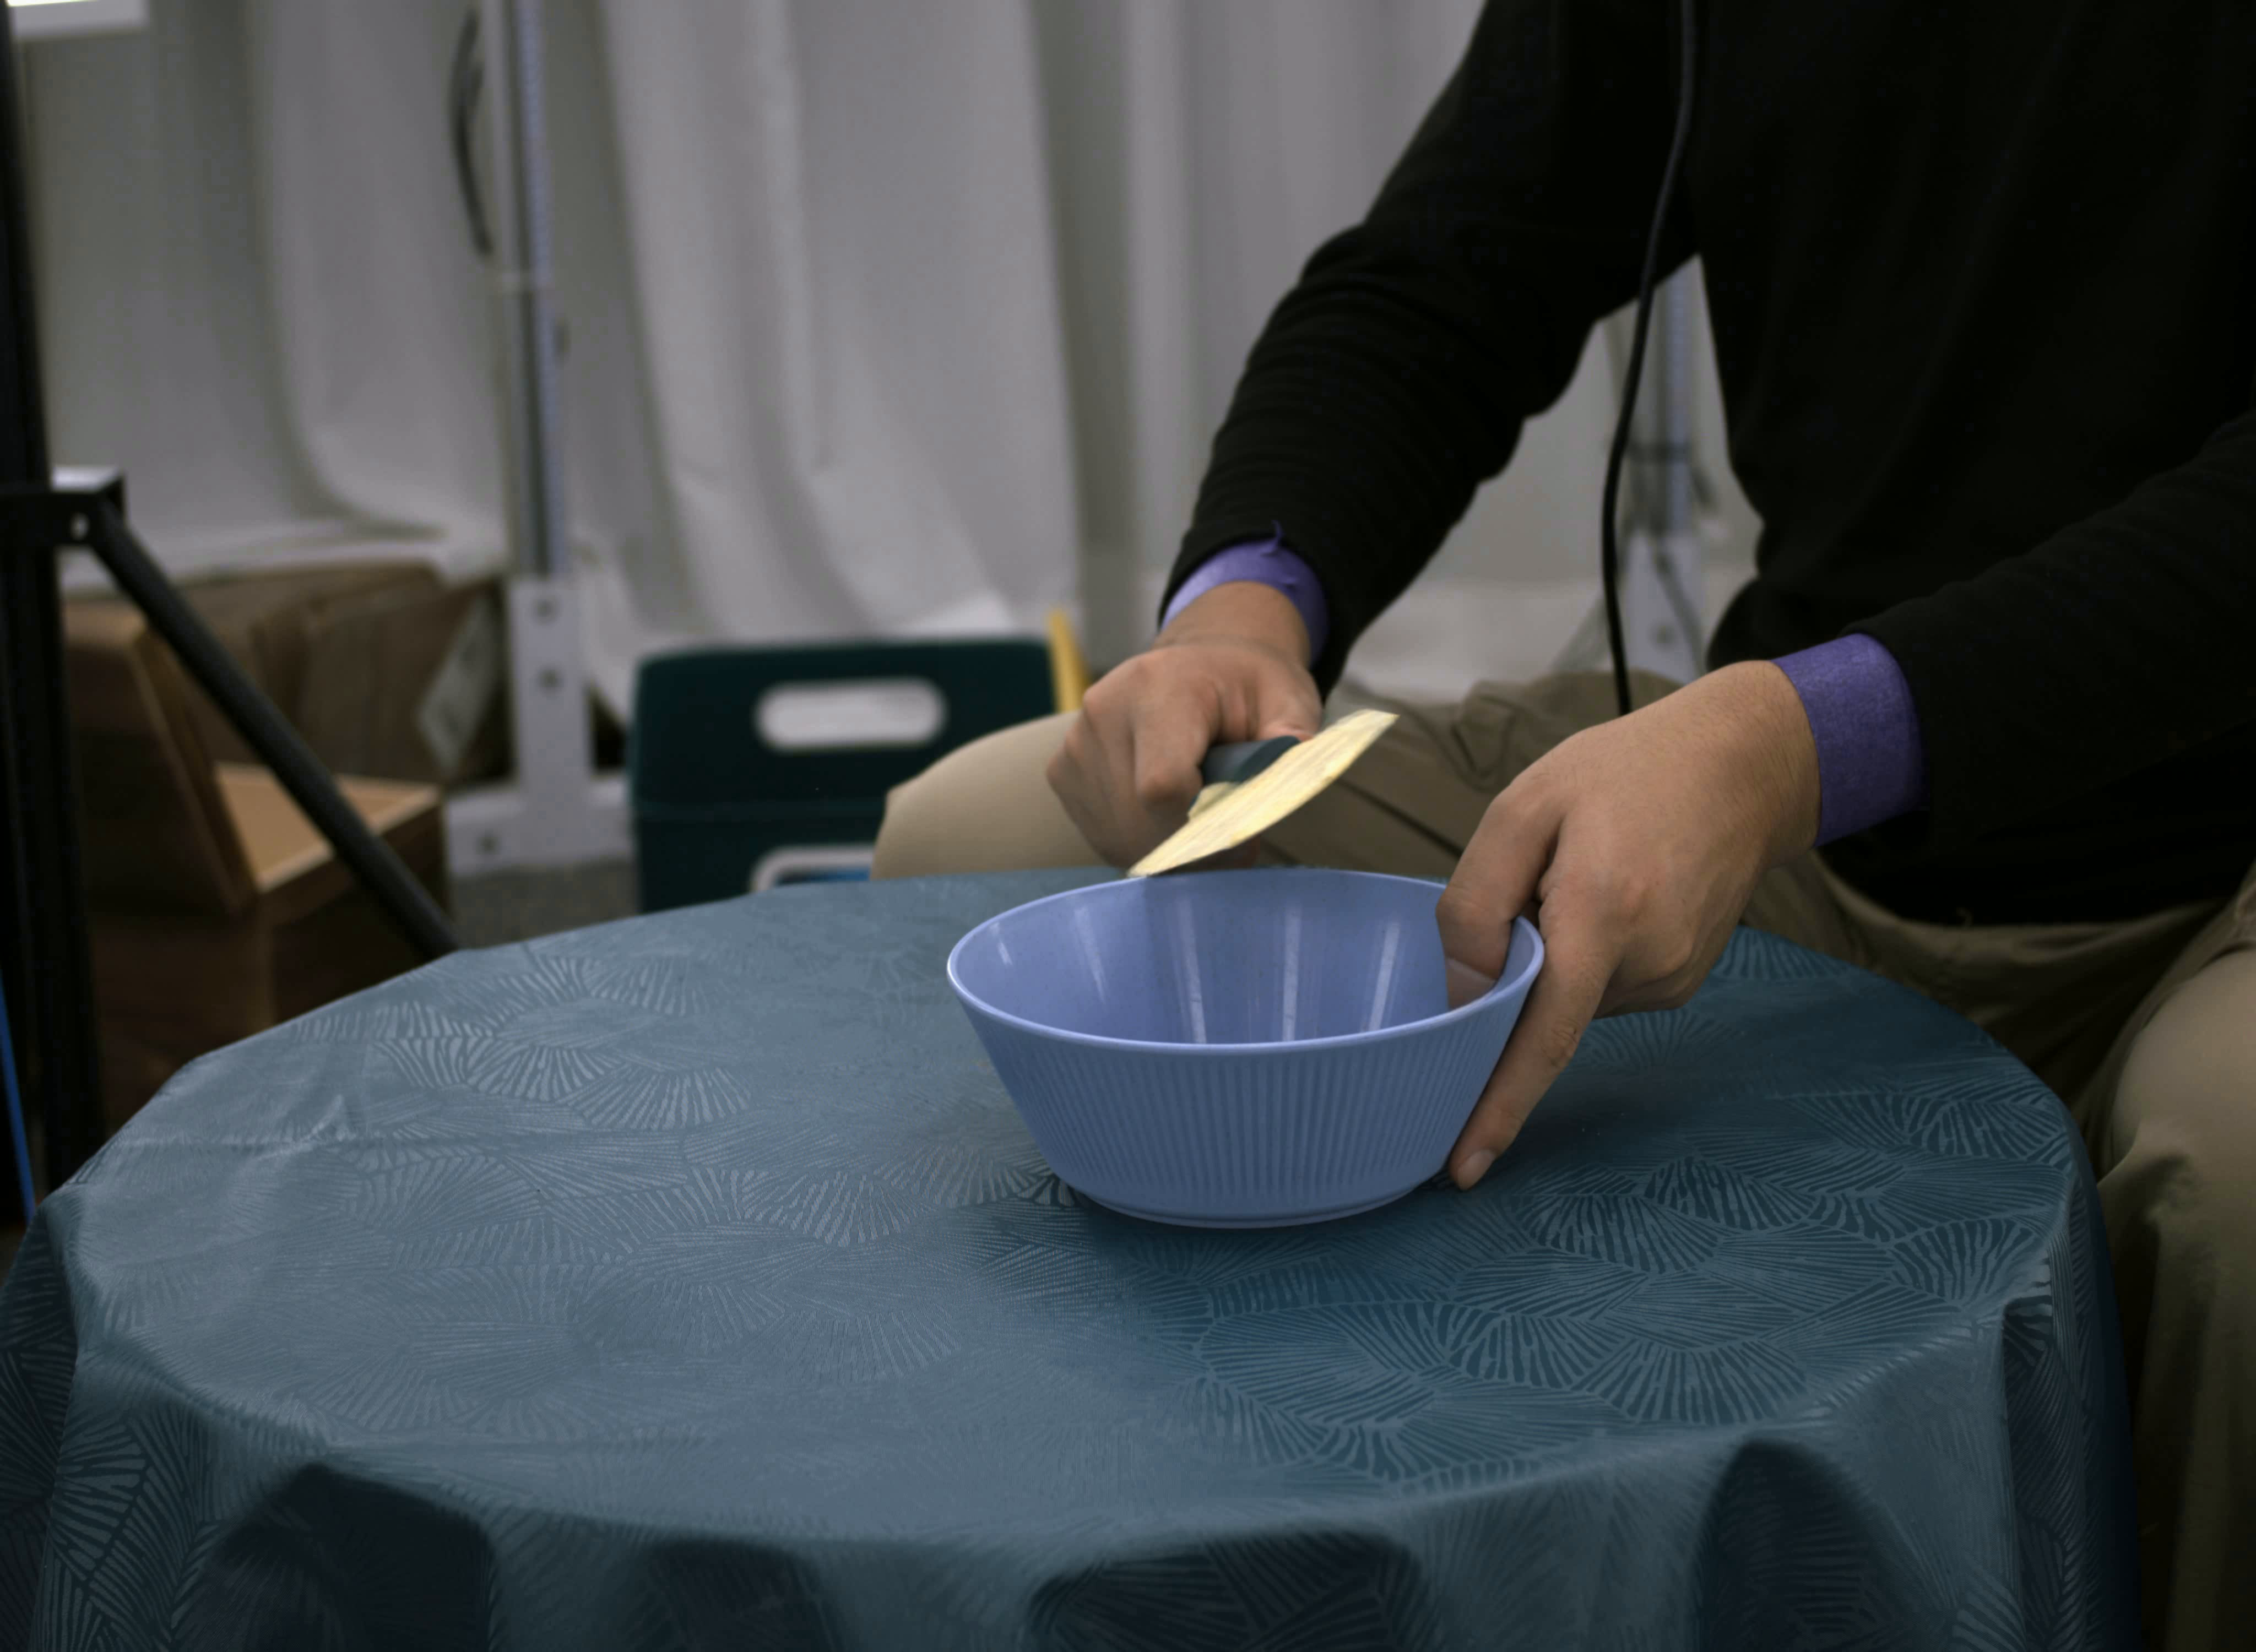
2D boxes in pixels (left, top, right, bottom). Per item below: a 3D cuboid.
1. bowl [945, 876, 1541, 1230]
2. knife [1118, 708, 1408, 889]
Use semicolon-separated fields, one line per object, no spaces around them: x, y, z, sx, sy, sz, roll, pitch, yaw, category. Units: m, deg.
0.035;0.069;1.562;0.175;0.070;0.177;-3;15;-1;bowl
0.033;-0.004;1.659;0.080;0.027;0.291;-34;2;-11;knife
